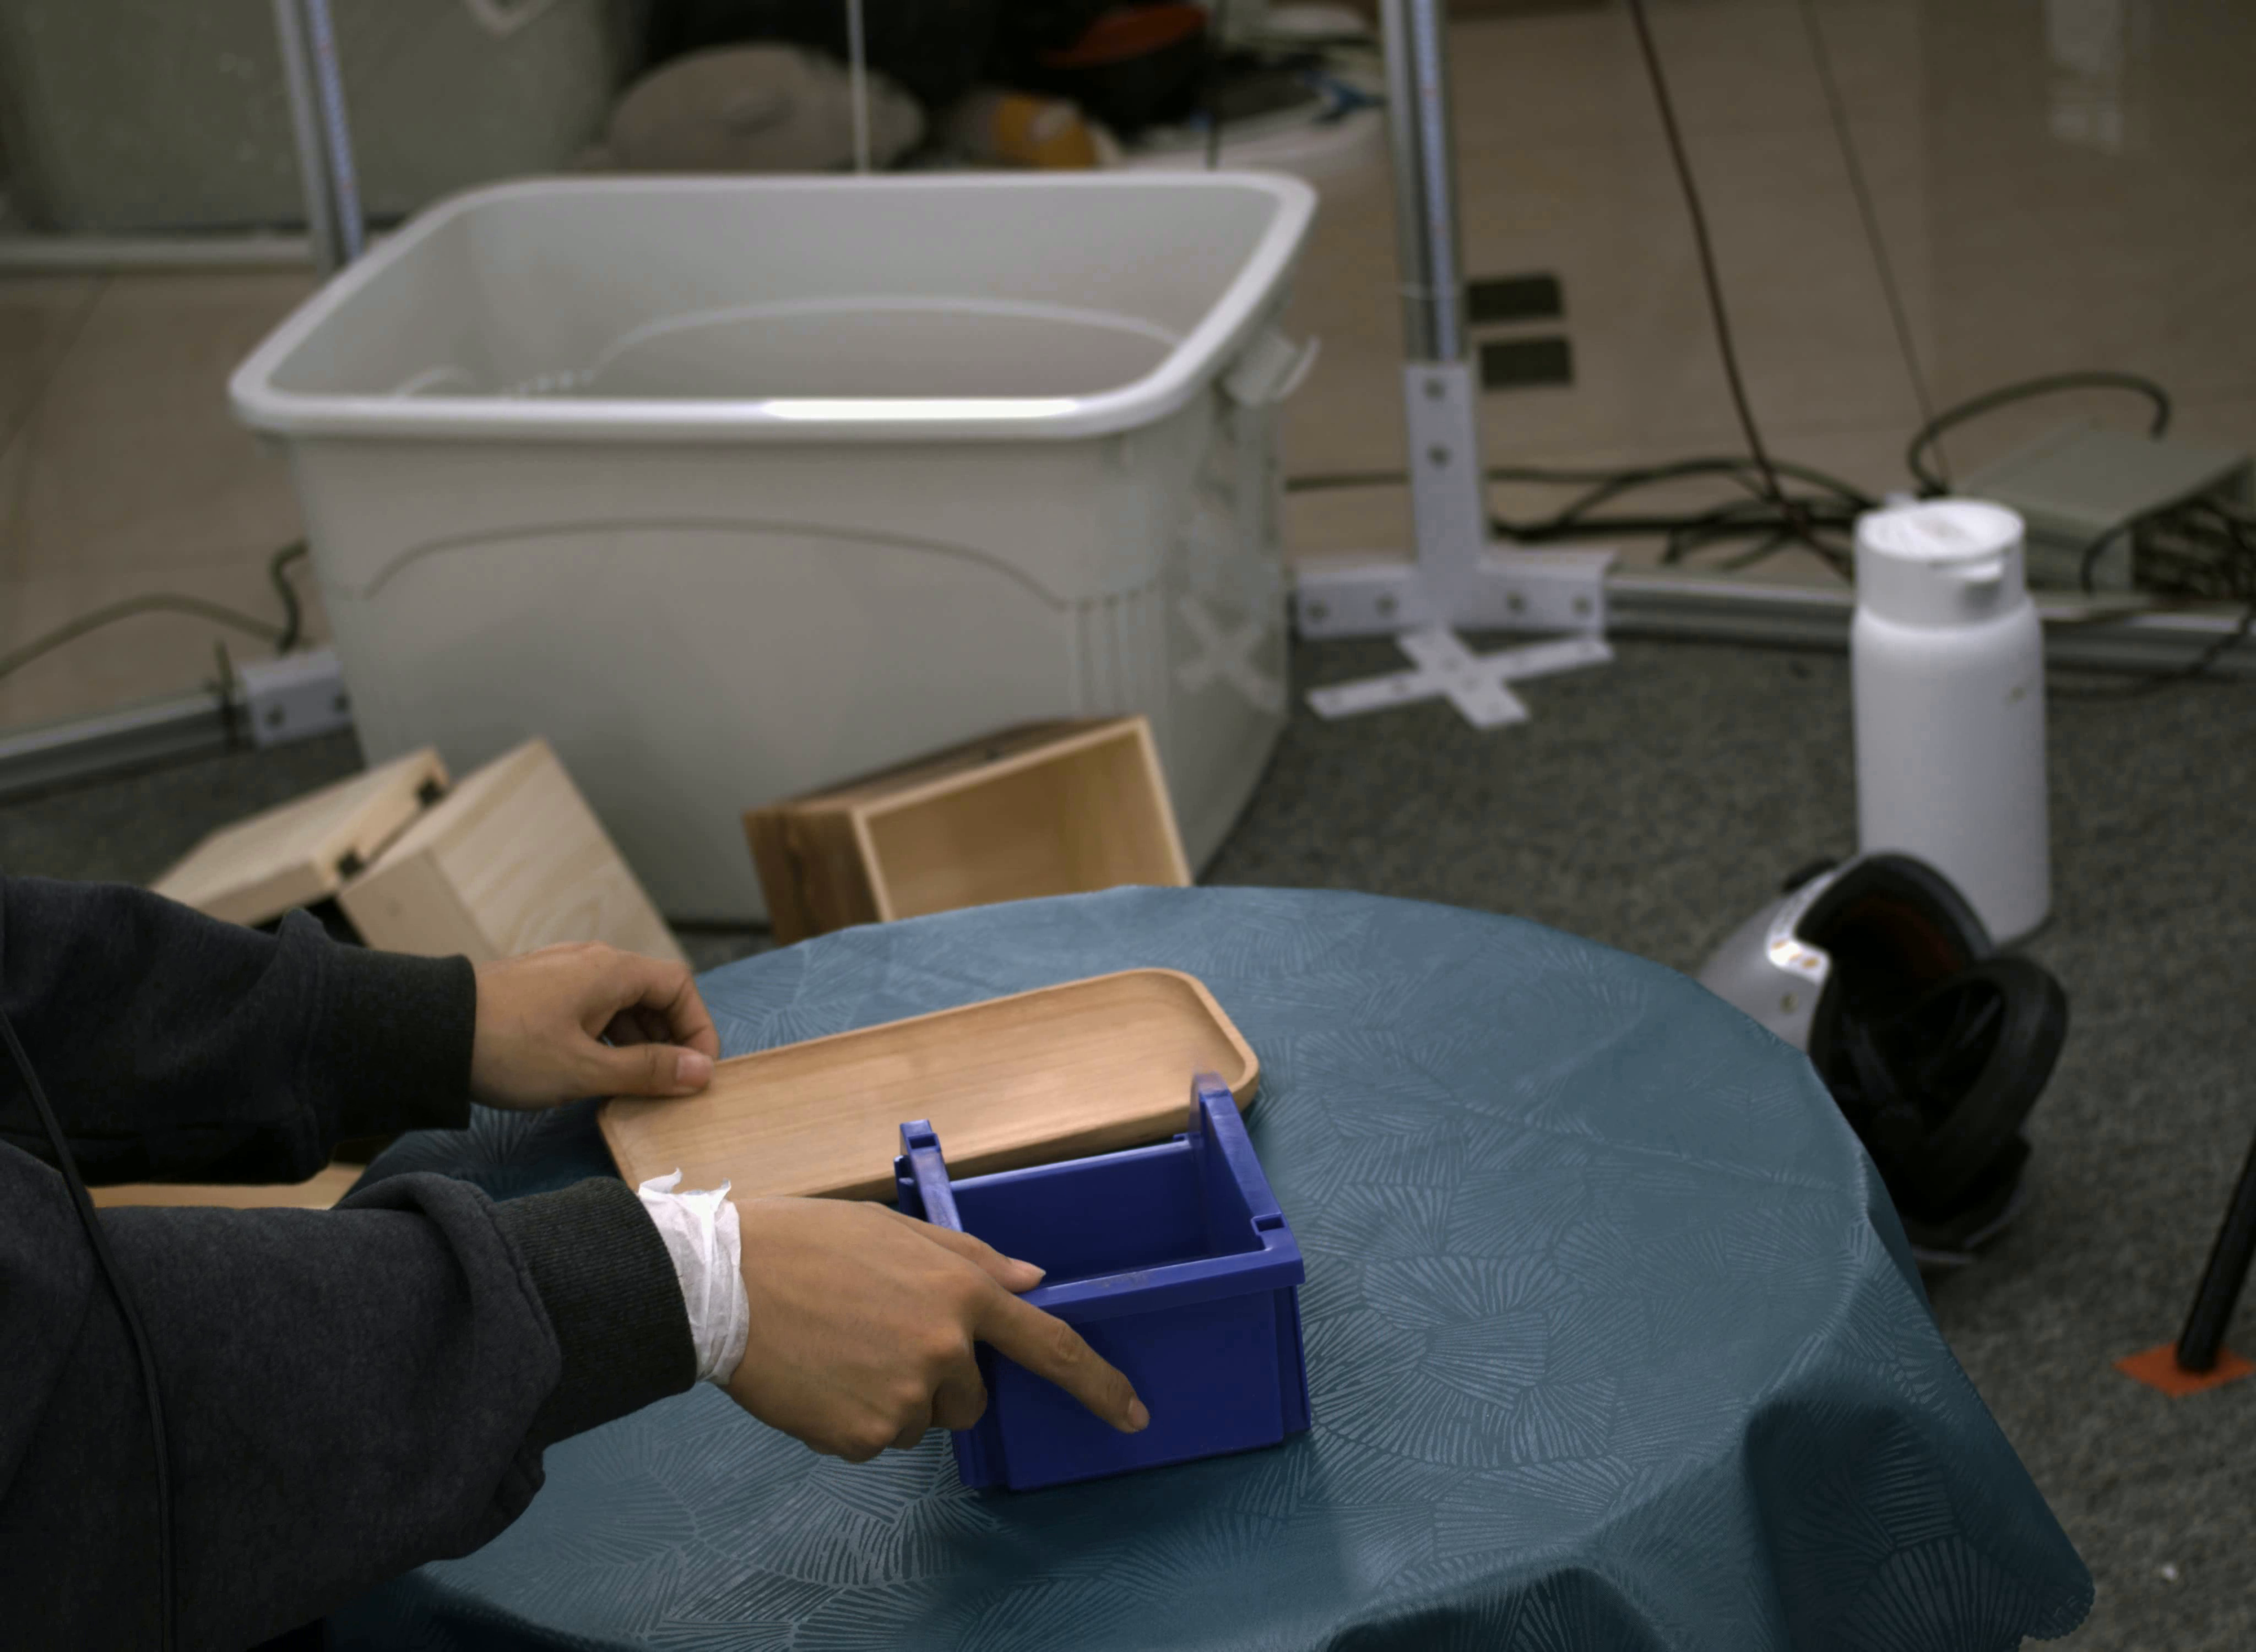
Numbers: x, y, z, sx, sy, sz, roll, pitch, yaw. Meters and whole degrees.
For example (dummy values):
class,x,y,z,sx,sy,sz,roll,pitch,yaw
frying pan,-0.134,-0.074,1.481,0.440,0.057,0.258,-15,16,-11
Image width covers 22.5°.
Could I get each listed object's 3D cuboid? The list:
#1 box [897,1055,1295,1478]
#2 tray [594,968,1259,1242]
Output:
class,x,y,z,sx,sy,sz,roll,pitch,yaw
box,-0.015,0.152,2.023,0.124,0.083,0.176,-9,28,-4
tray,-0.079,0.108,2.211,0.250,0.023,0.129,-13,23,-12
